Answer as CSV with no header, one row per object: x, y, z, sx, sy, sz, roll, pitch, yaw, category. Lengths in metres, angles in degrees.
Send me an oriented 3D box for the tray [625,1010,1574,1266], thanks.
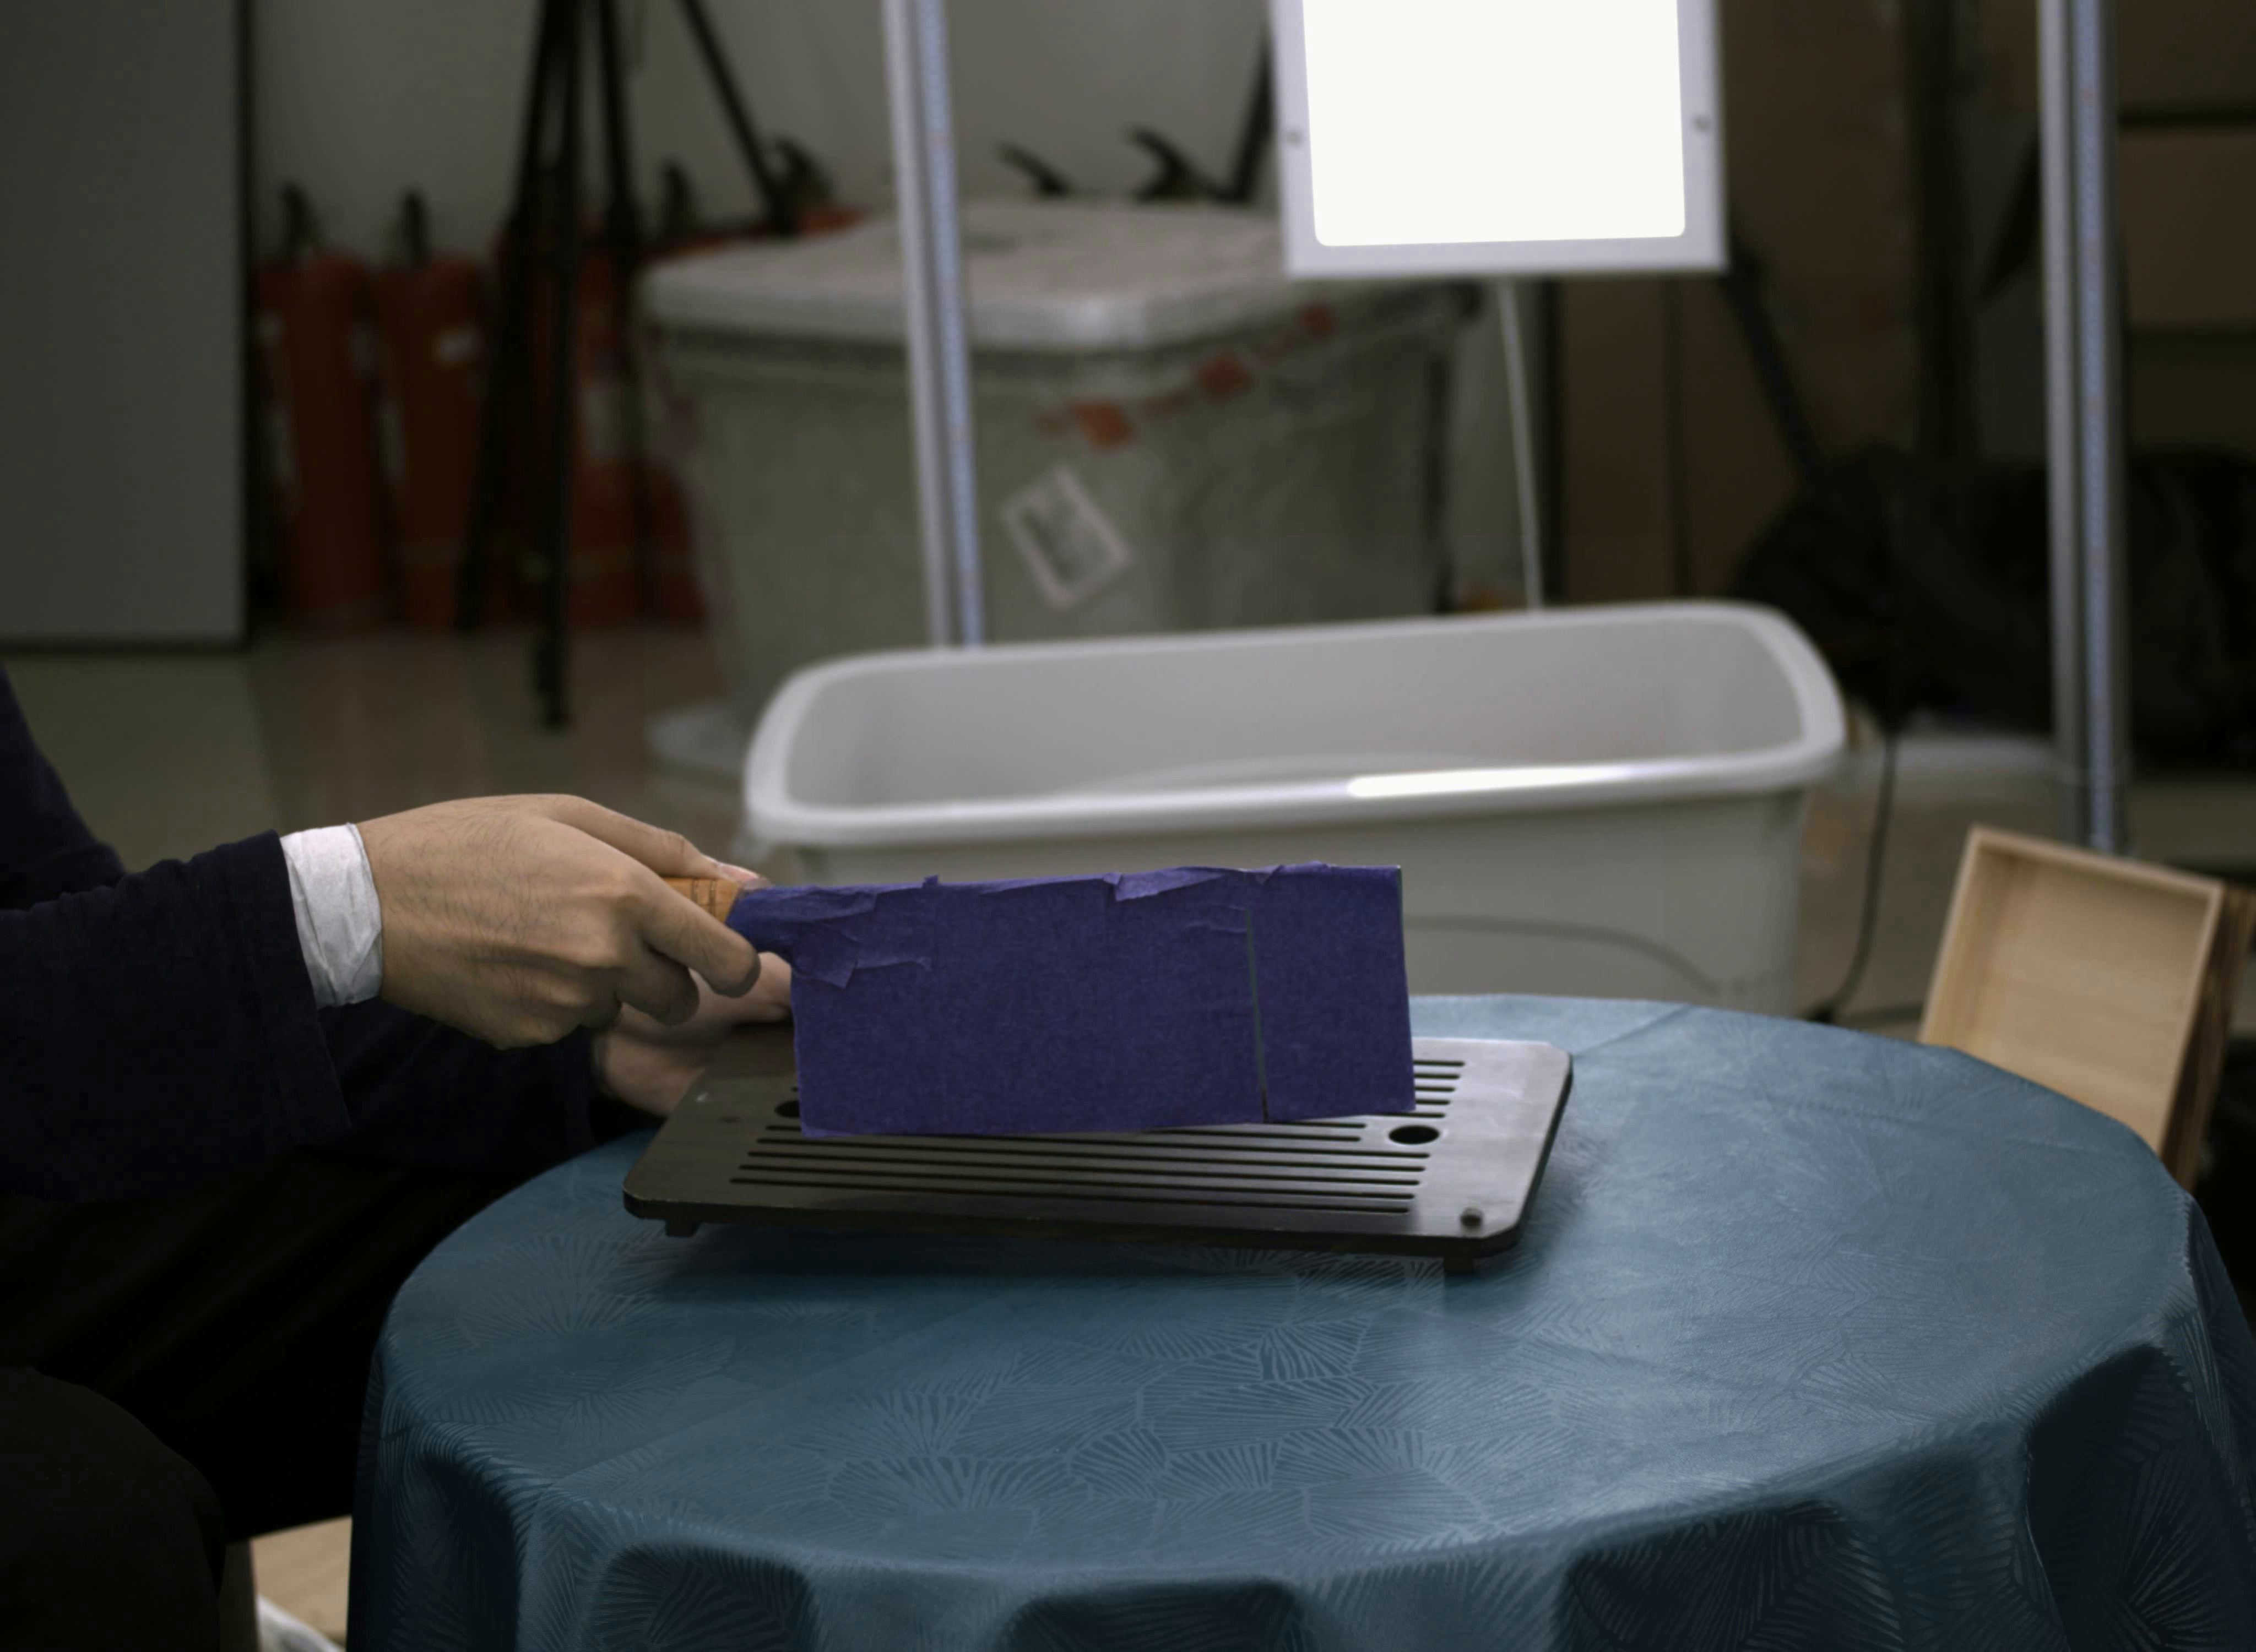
-0.006,0.106,1.889,0.308,0.019,0.168,1,20,14,tray

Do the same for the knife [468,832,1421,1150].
-0.060,0.060,1.832,0.316,0.104,0.032,-3,17,8,knife
